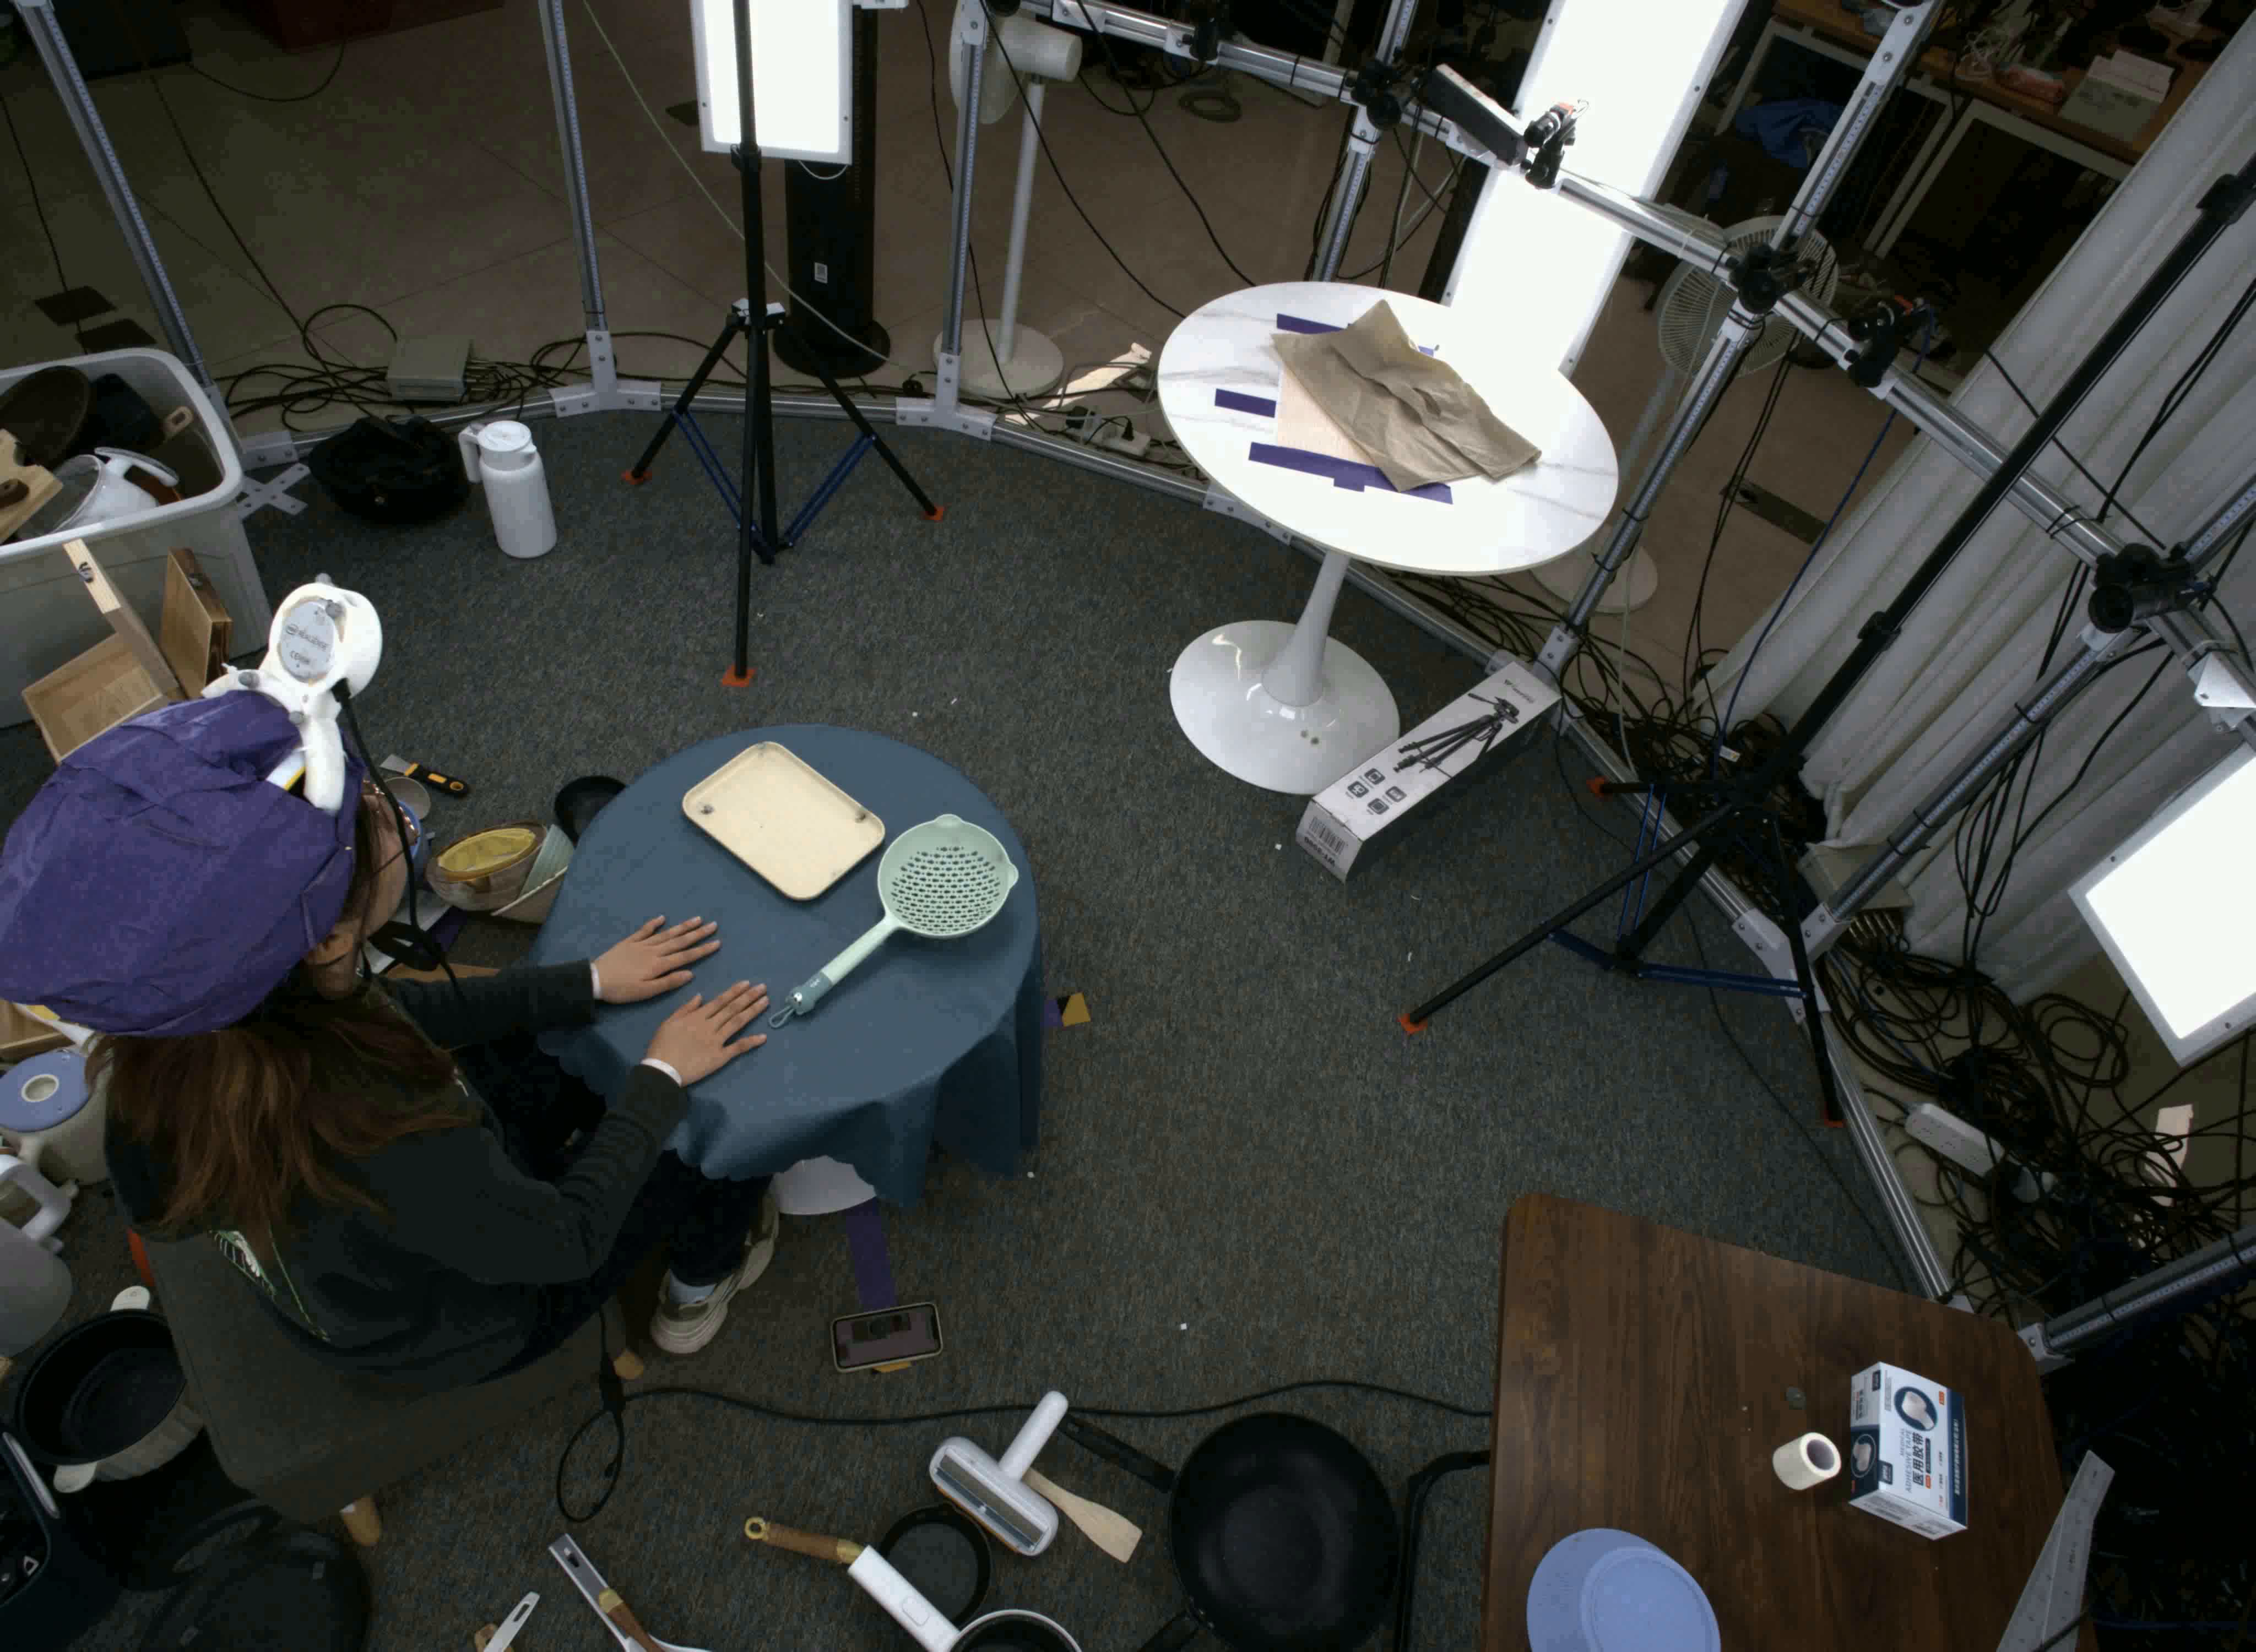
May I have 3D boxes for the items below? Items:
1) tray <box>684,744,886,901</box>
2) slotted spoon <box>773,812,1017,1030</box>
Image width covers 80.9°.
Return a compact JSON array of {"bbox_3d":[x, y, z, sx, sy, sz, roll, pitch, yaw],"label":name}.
[{"bbox_3d":[-0.454,-0.007,1.716,0.235,0.018,0.171,35,53,13],"label":"tray"},{"bbox_3d":[-0.300,0.126,1.627,0.165,0.077,0.359,40,55,17],"label":"slotted spoon"}]
